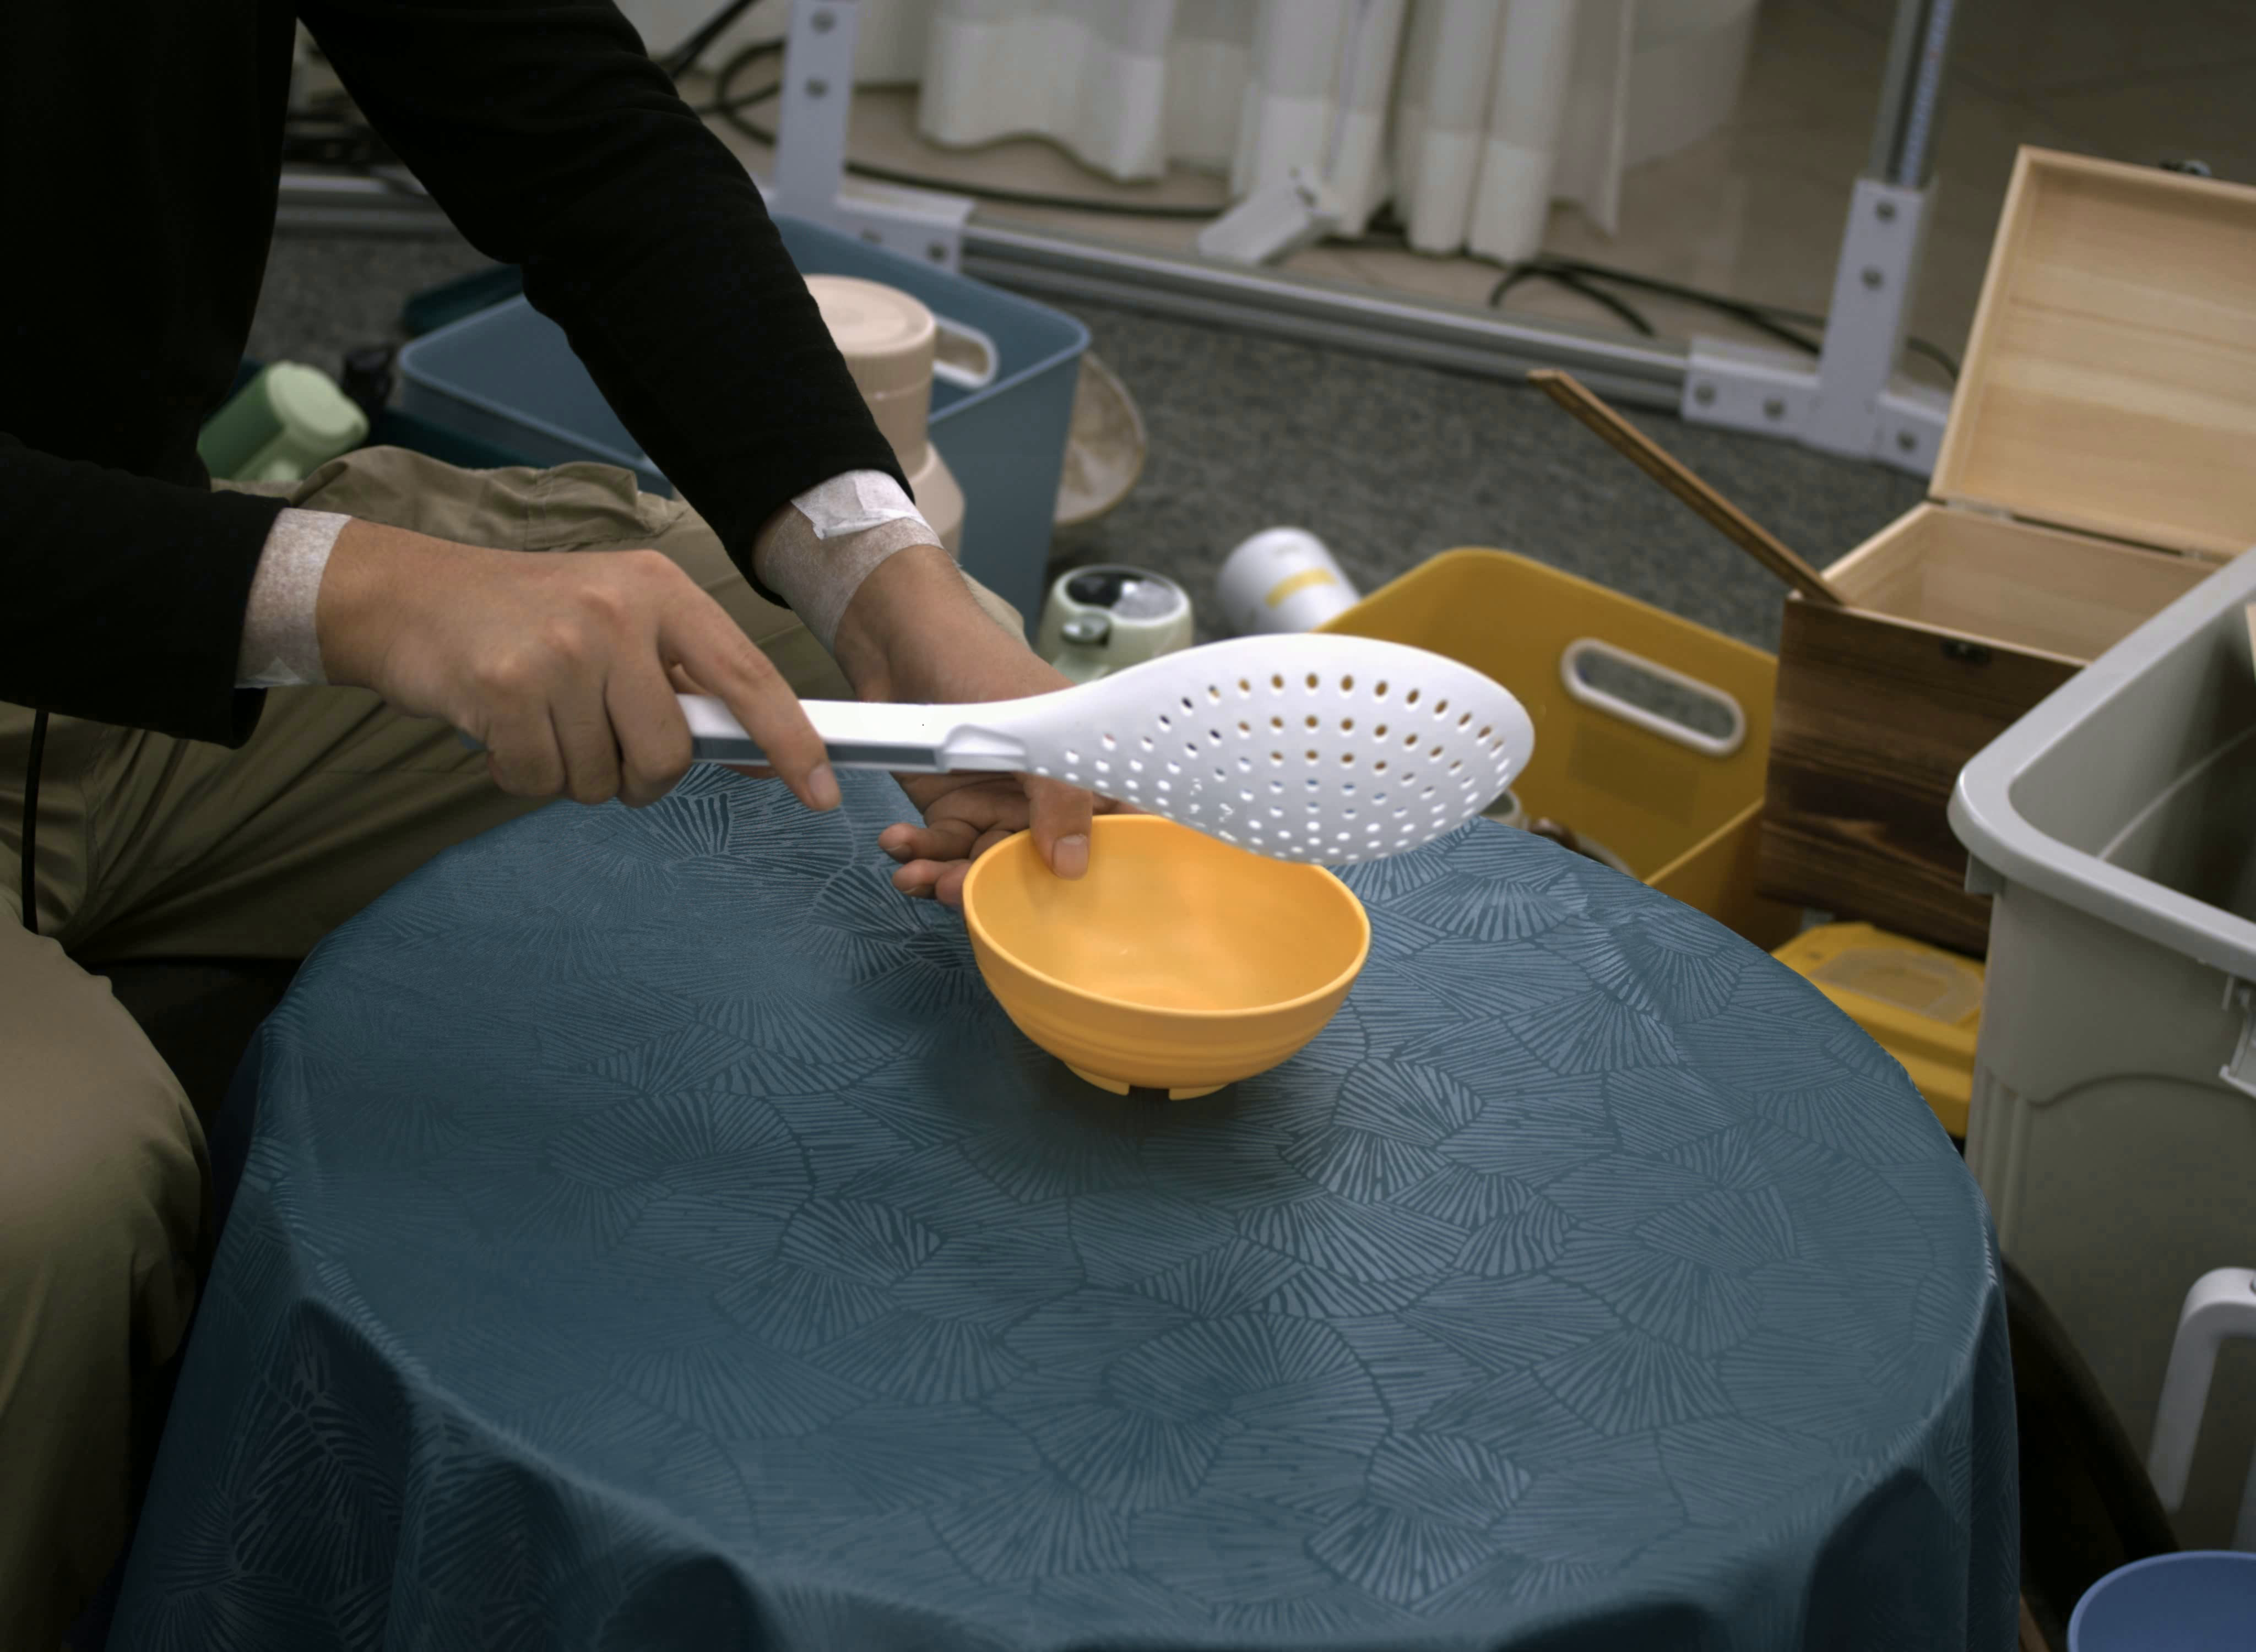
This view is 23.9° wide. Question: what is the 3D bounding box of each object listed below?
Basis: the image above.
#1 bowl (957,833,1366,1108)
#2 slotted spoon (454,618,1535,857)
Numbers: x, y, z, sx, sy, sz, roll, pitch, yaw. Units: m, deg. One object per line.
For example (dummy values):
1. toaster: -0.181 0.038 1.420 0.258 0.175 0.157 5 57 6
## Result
1. bowl: 0.009 0.059 1.876 0.145 0.060 0.146 5 24 -3
2. slotted spoon: -0.045 -0.031 1.717 0.349 0.135 0.046 6 65 8
